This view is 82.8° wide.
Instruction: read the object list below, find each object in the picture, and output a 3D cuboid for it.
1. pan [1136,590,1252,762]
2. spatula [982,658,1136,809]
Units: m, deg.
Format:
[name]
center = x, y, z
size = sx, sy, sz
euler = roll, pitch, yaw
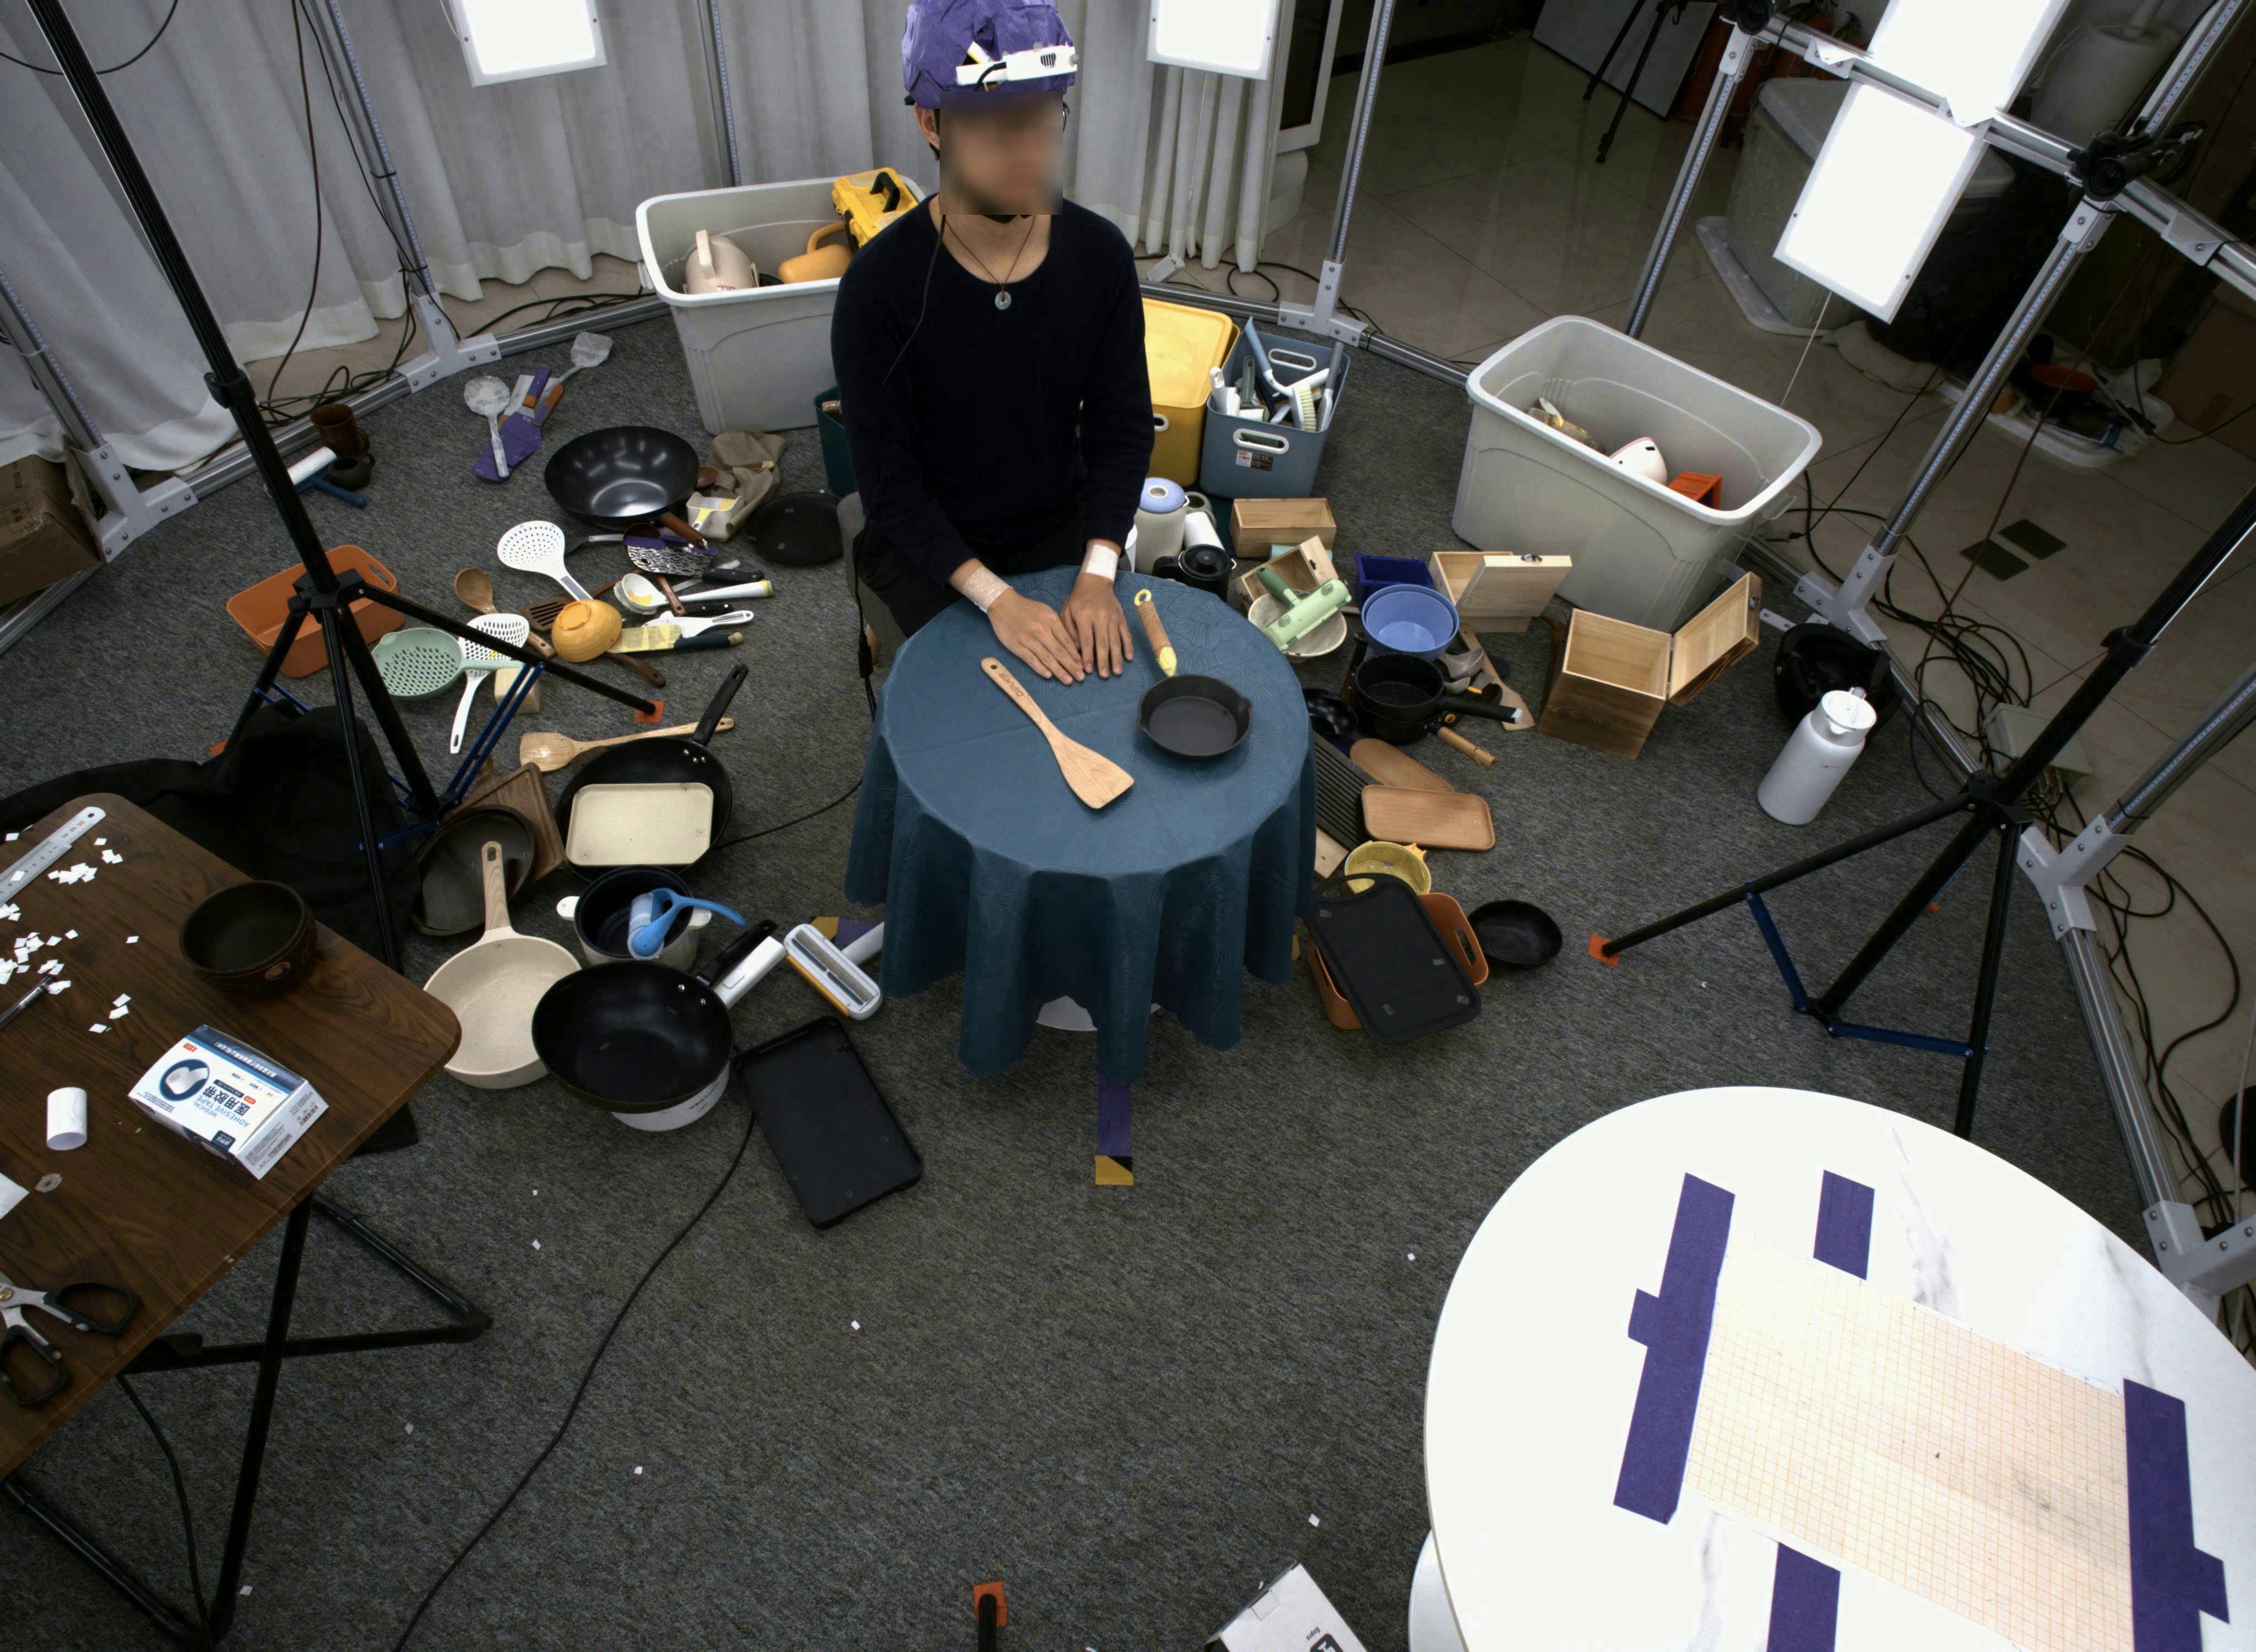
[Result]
[pan]
center = 0.068, -0.215, 1.827
size = 0.169, 0.048, 0.332
euler = -10, 52, -13
[spatula]
center = -0.107, -0.137, 1.770
size = 0.080, 0.016, 0.334
euler = -26, 56, -25
